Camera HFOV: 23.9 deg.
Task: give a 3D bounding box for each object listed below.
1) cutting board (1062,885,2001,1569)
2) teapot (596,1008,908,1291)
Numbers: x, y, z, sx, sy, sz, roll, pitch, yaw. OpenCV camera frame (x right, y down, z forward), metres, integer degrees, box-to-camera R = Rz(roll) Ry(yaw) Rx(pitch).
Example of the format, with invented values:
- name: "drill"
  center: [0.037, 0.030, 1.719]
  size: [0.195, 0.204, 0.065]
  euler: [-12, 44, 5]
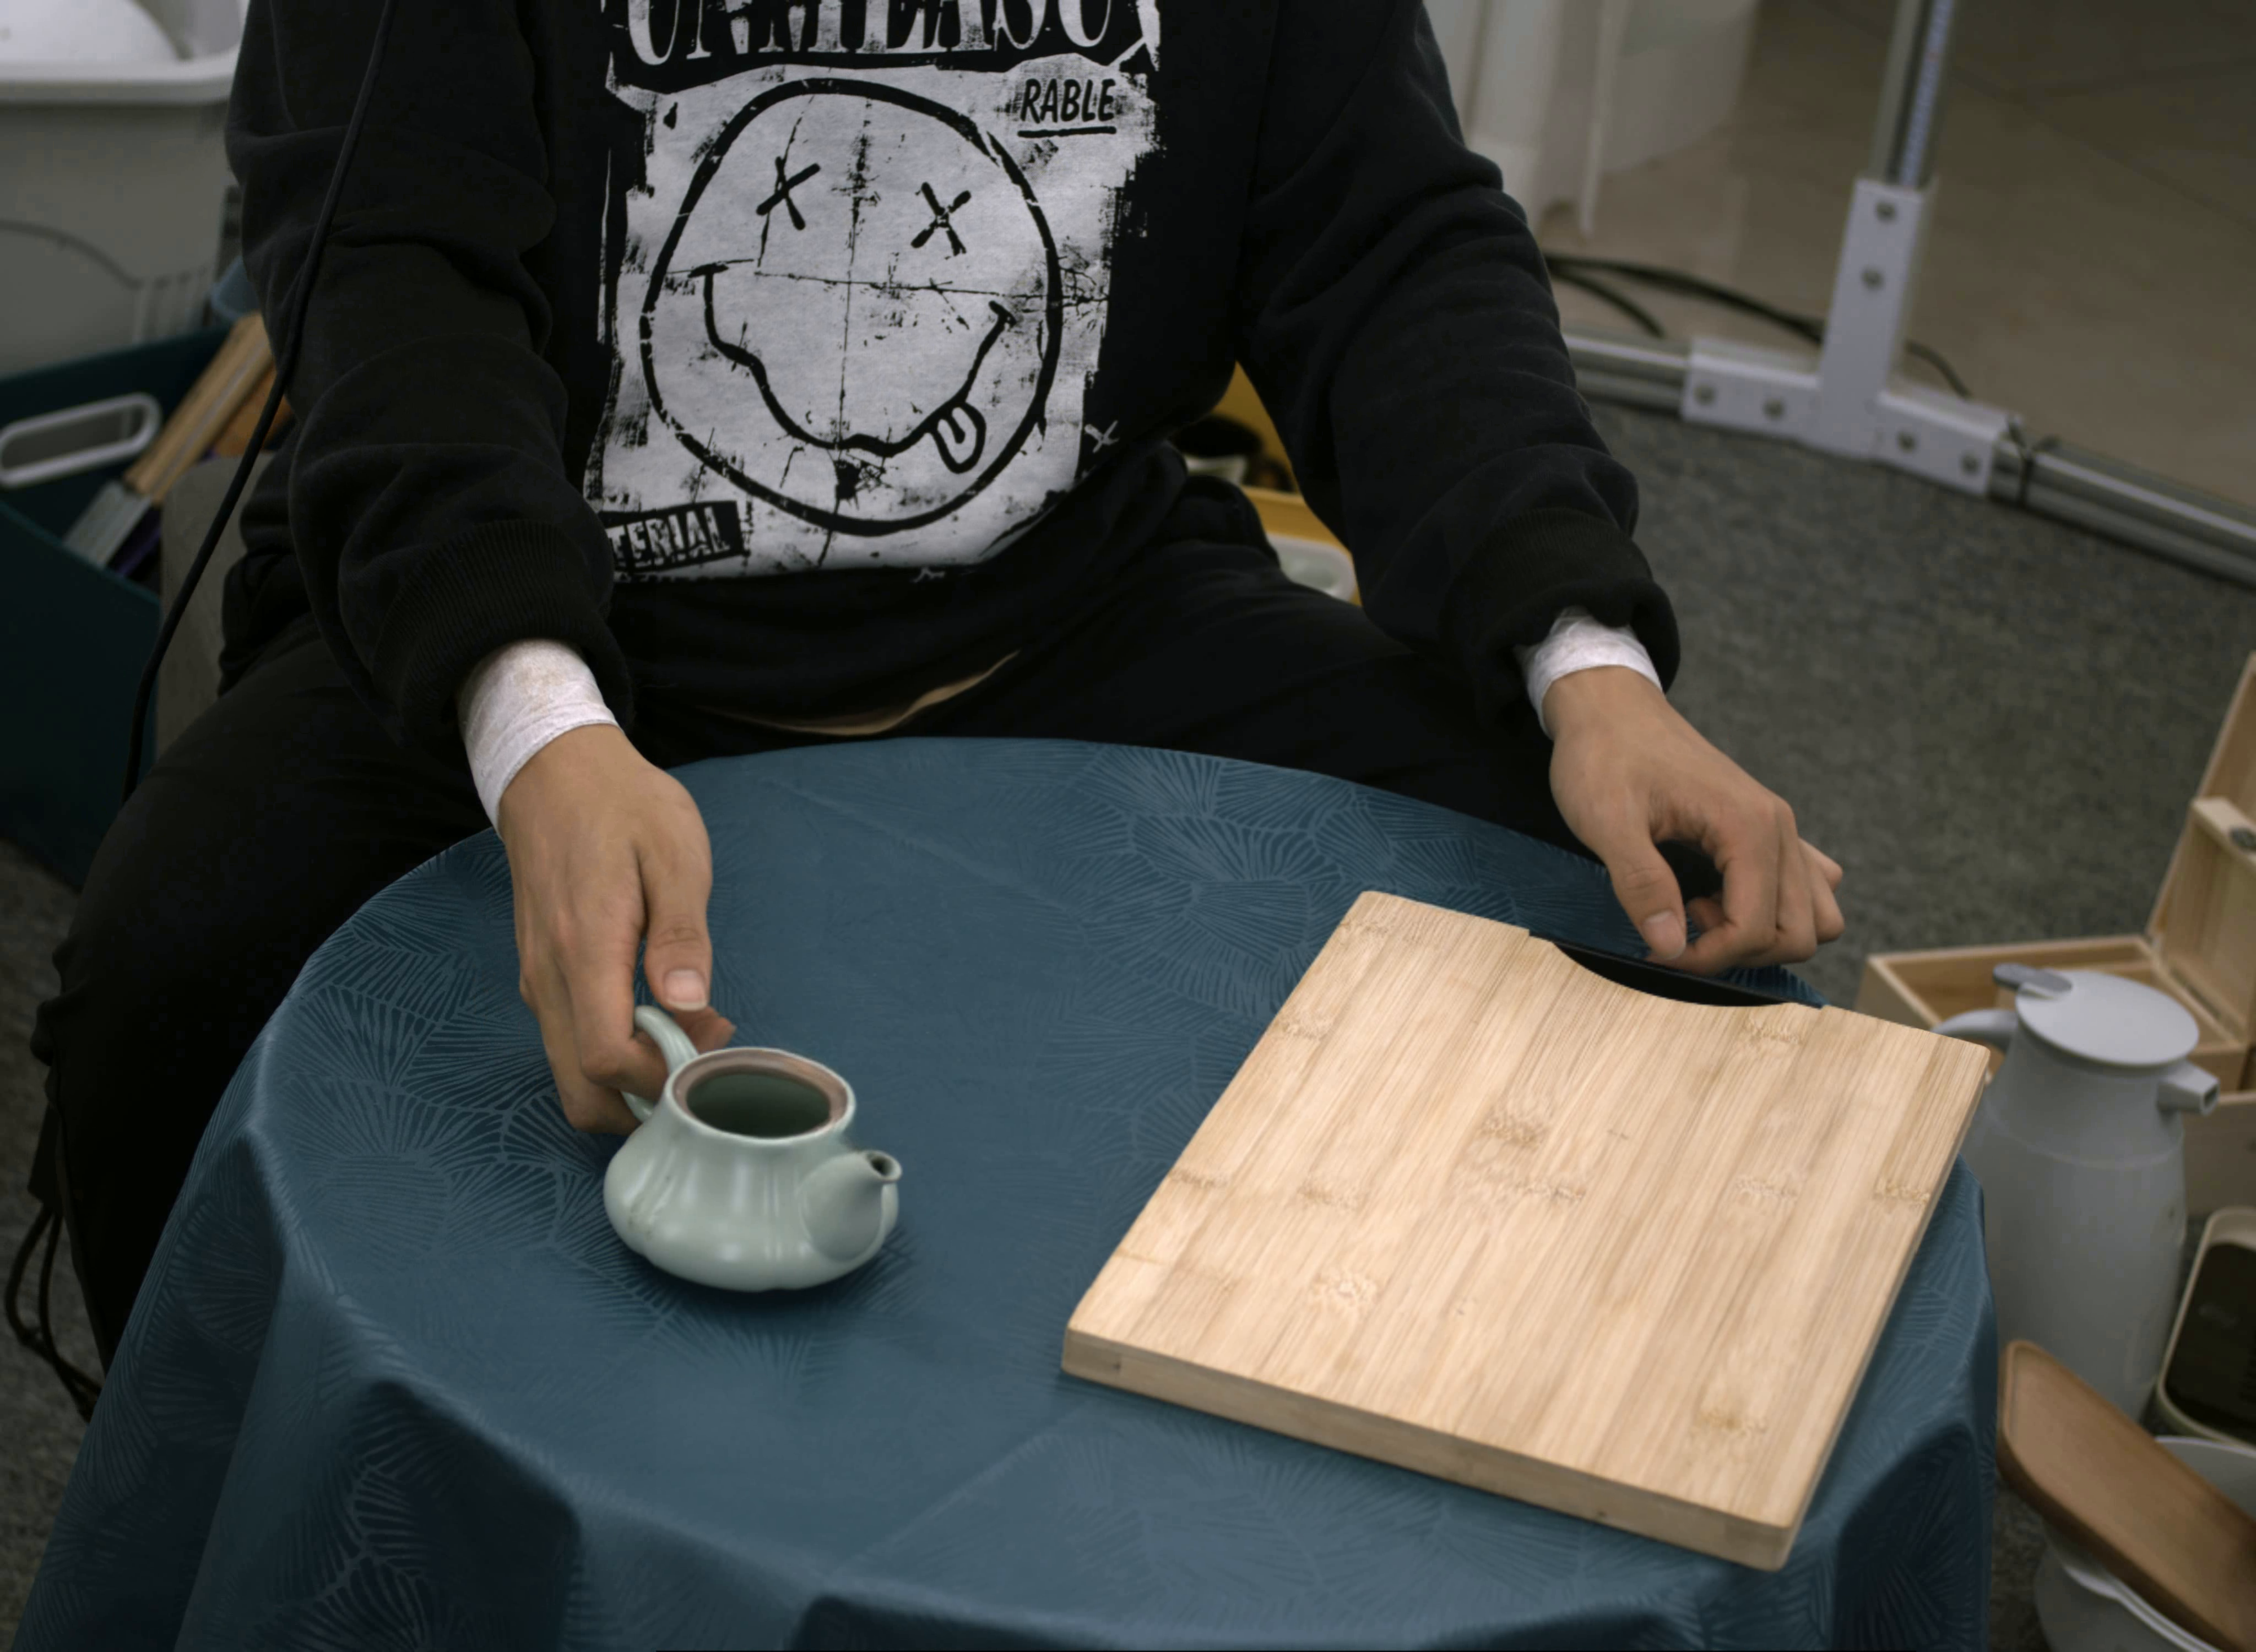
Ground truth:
- name: "cutting board"
  center: [0.147, 0.126, 1.816]
  size: [0.251, 0.023, 0.349]
  euler: [14, 28, 13]
- name: "teapot"
  center: [-0.126, 0.108, 1.741]
  size: [0.138, 0.061, 0.096]
  euler: [28, 35, 35]
